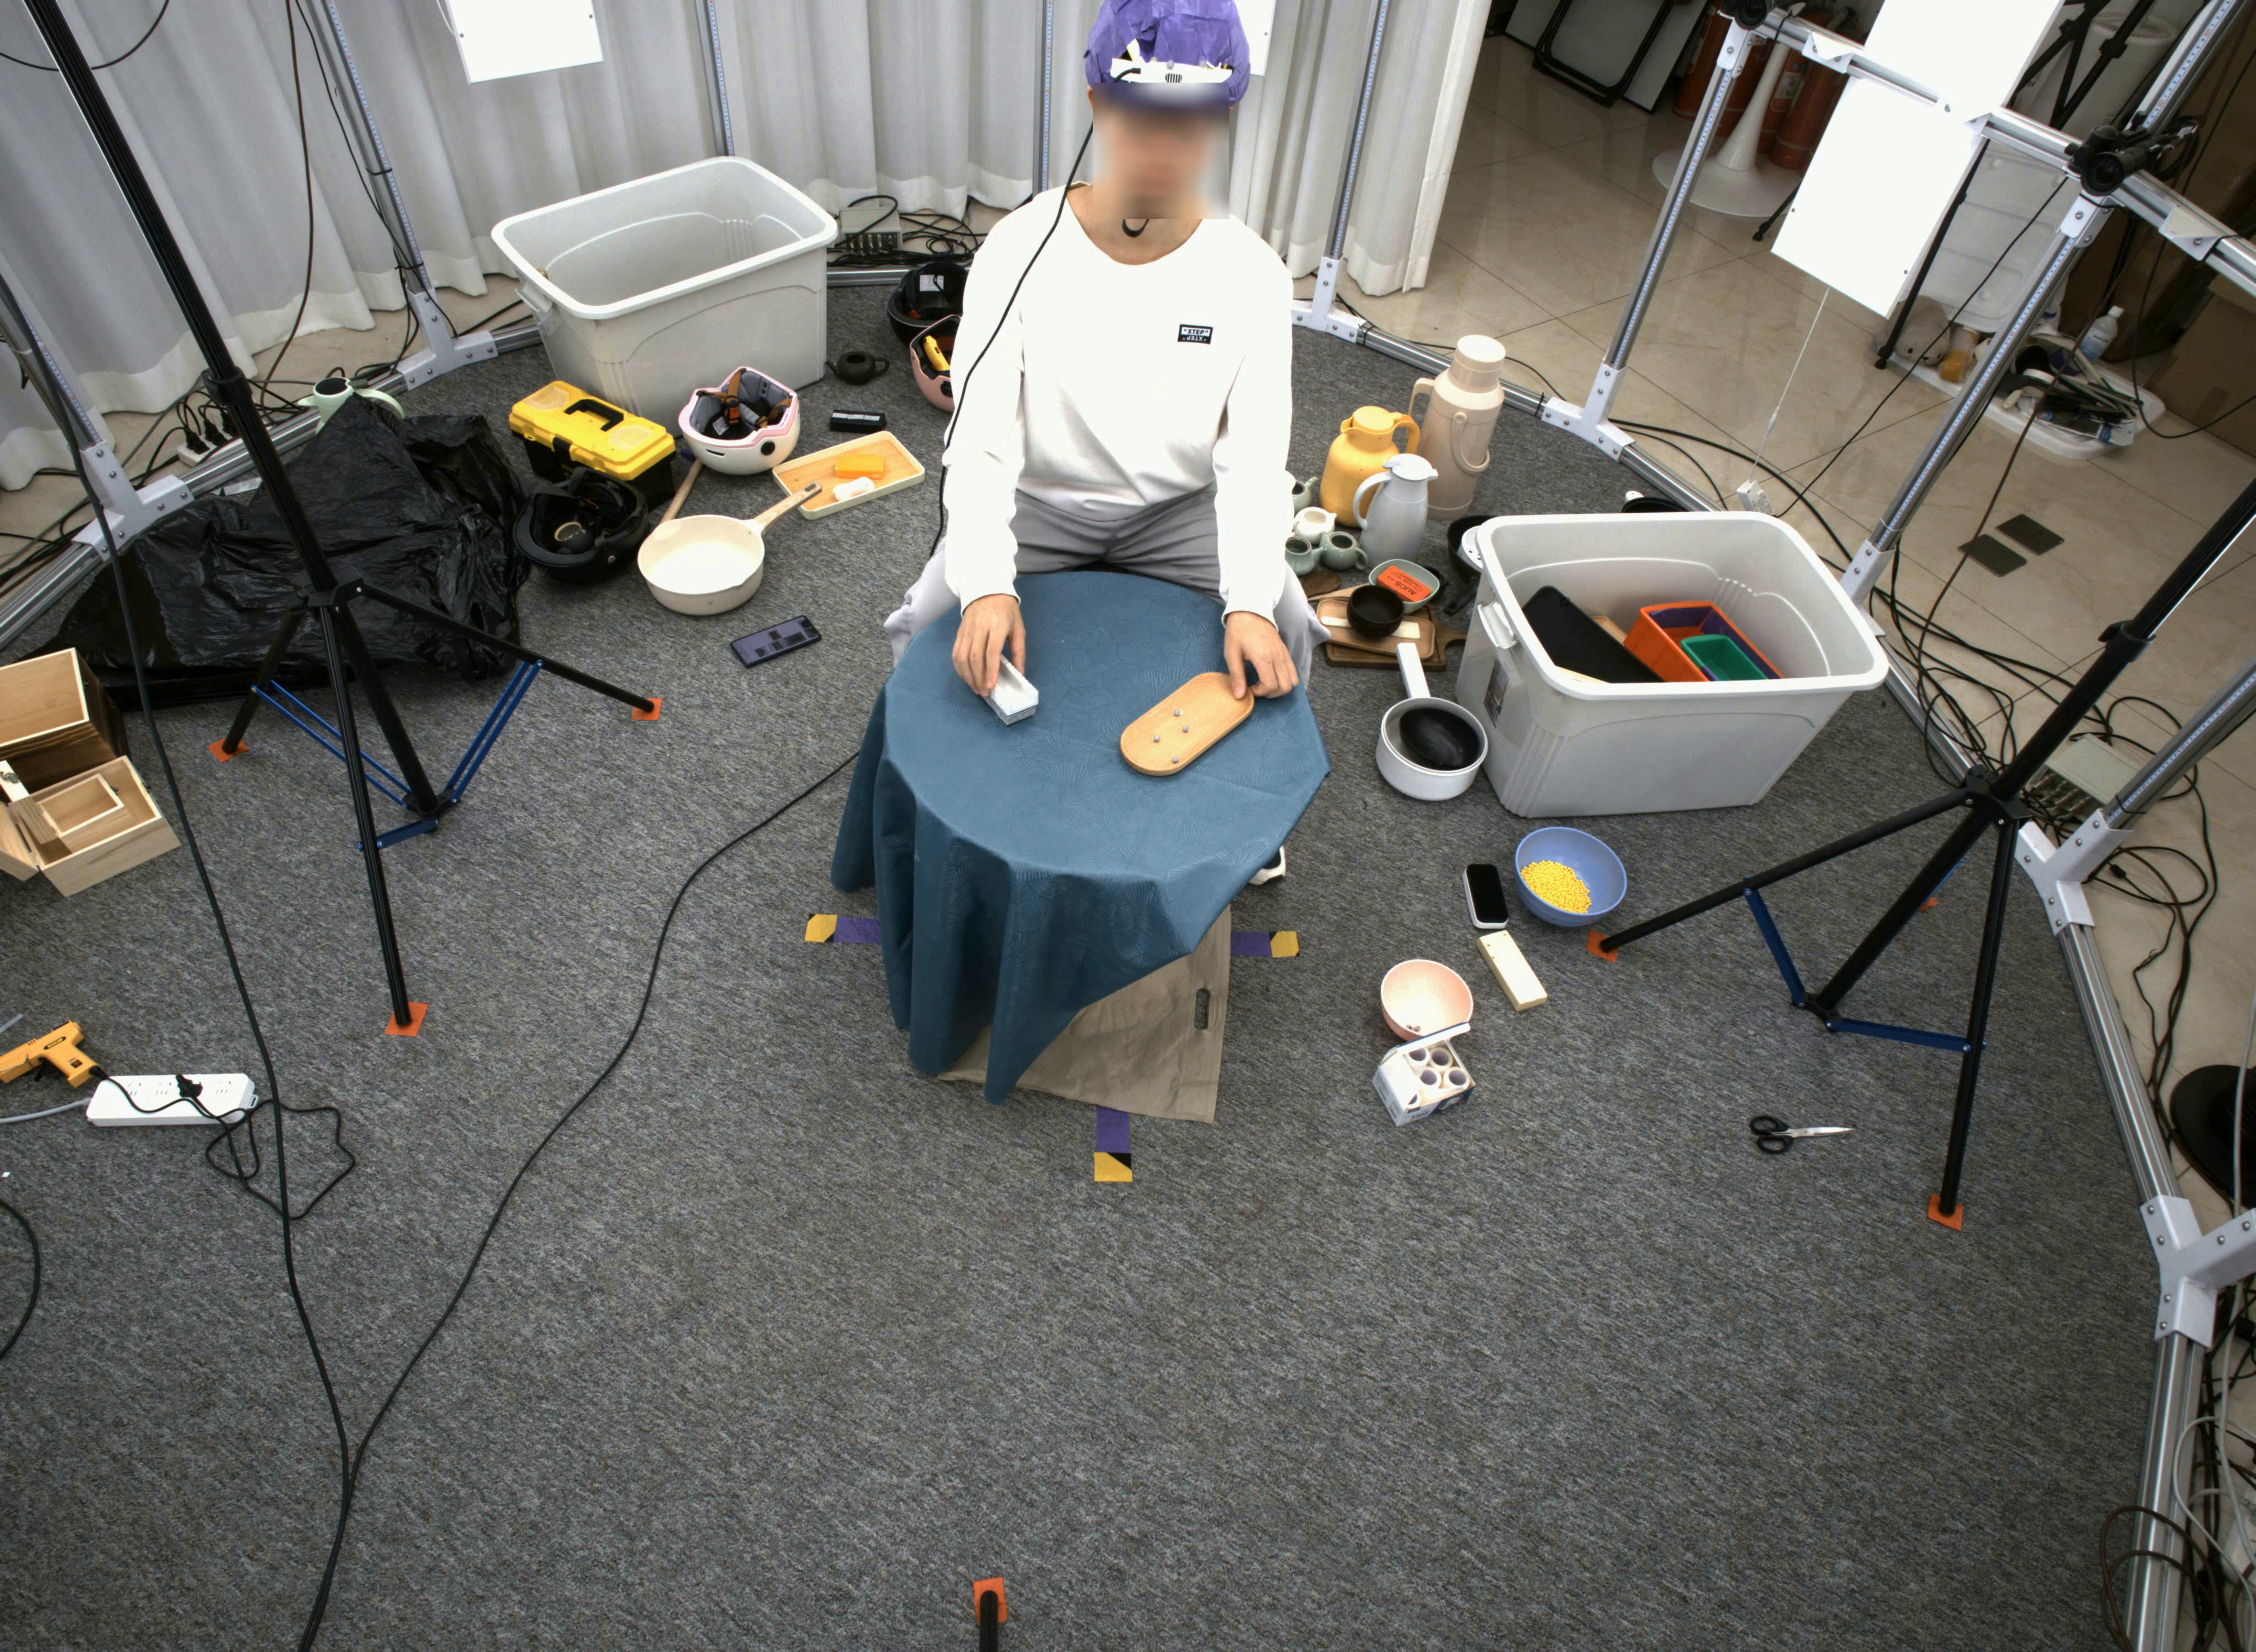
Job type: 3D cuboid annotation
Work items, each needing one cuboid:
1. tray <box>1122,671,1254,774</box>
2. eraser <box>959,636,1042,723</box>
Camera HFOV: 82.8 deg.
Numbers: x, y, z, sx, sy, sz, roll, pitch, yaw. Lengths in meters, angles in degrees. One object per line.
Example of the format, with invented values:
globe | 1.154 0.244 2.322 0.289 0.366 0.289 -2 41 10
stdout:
tray | 0.085 -0.146 1.787 0.103 0.020 0.233 36 54 23
eraser | -0.180 -0.205 1.798 0.050 0.045 0.137 -24 55 -31
